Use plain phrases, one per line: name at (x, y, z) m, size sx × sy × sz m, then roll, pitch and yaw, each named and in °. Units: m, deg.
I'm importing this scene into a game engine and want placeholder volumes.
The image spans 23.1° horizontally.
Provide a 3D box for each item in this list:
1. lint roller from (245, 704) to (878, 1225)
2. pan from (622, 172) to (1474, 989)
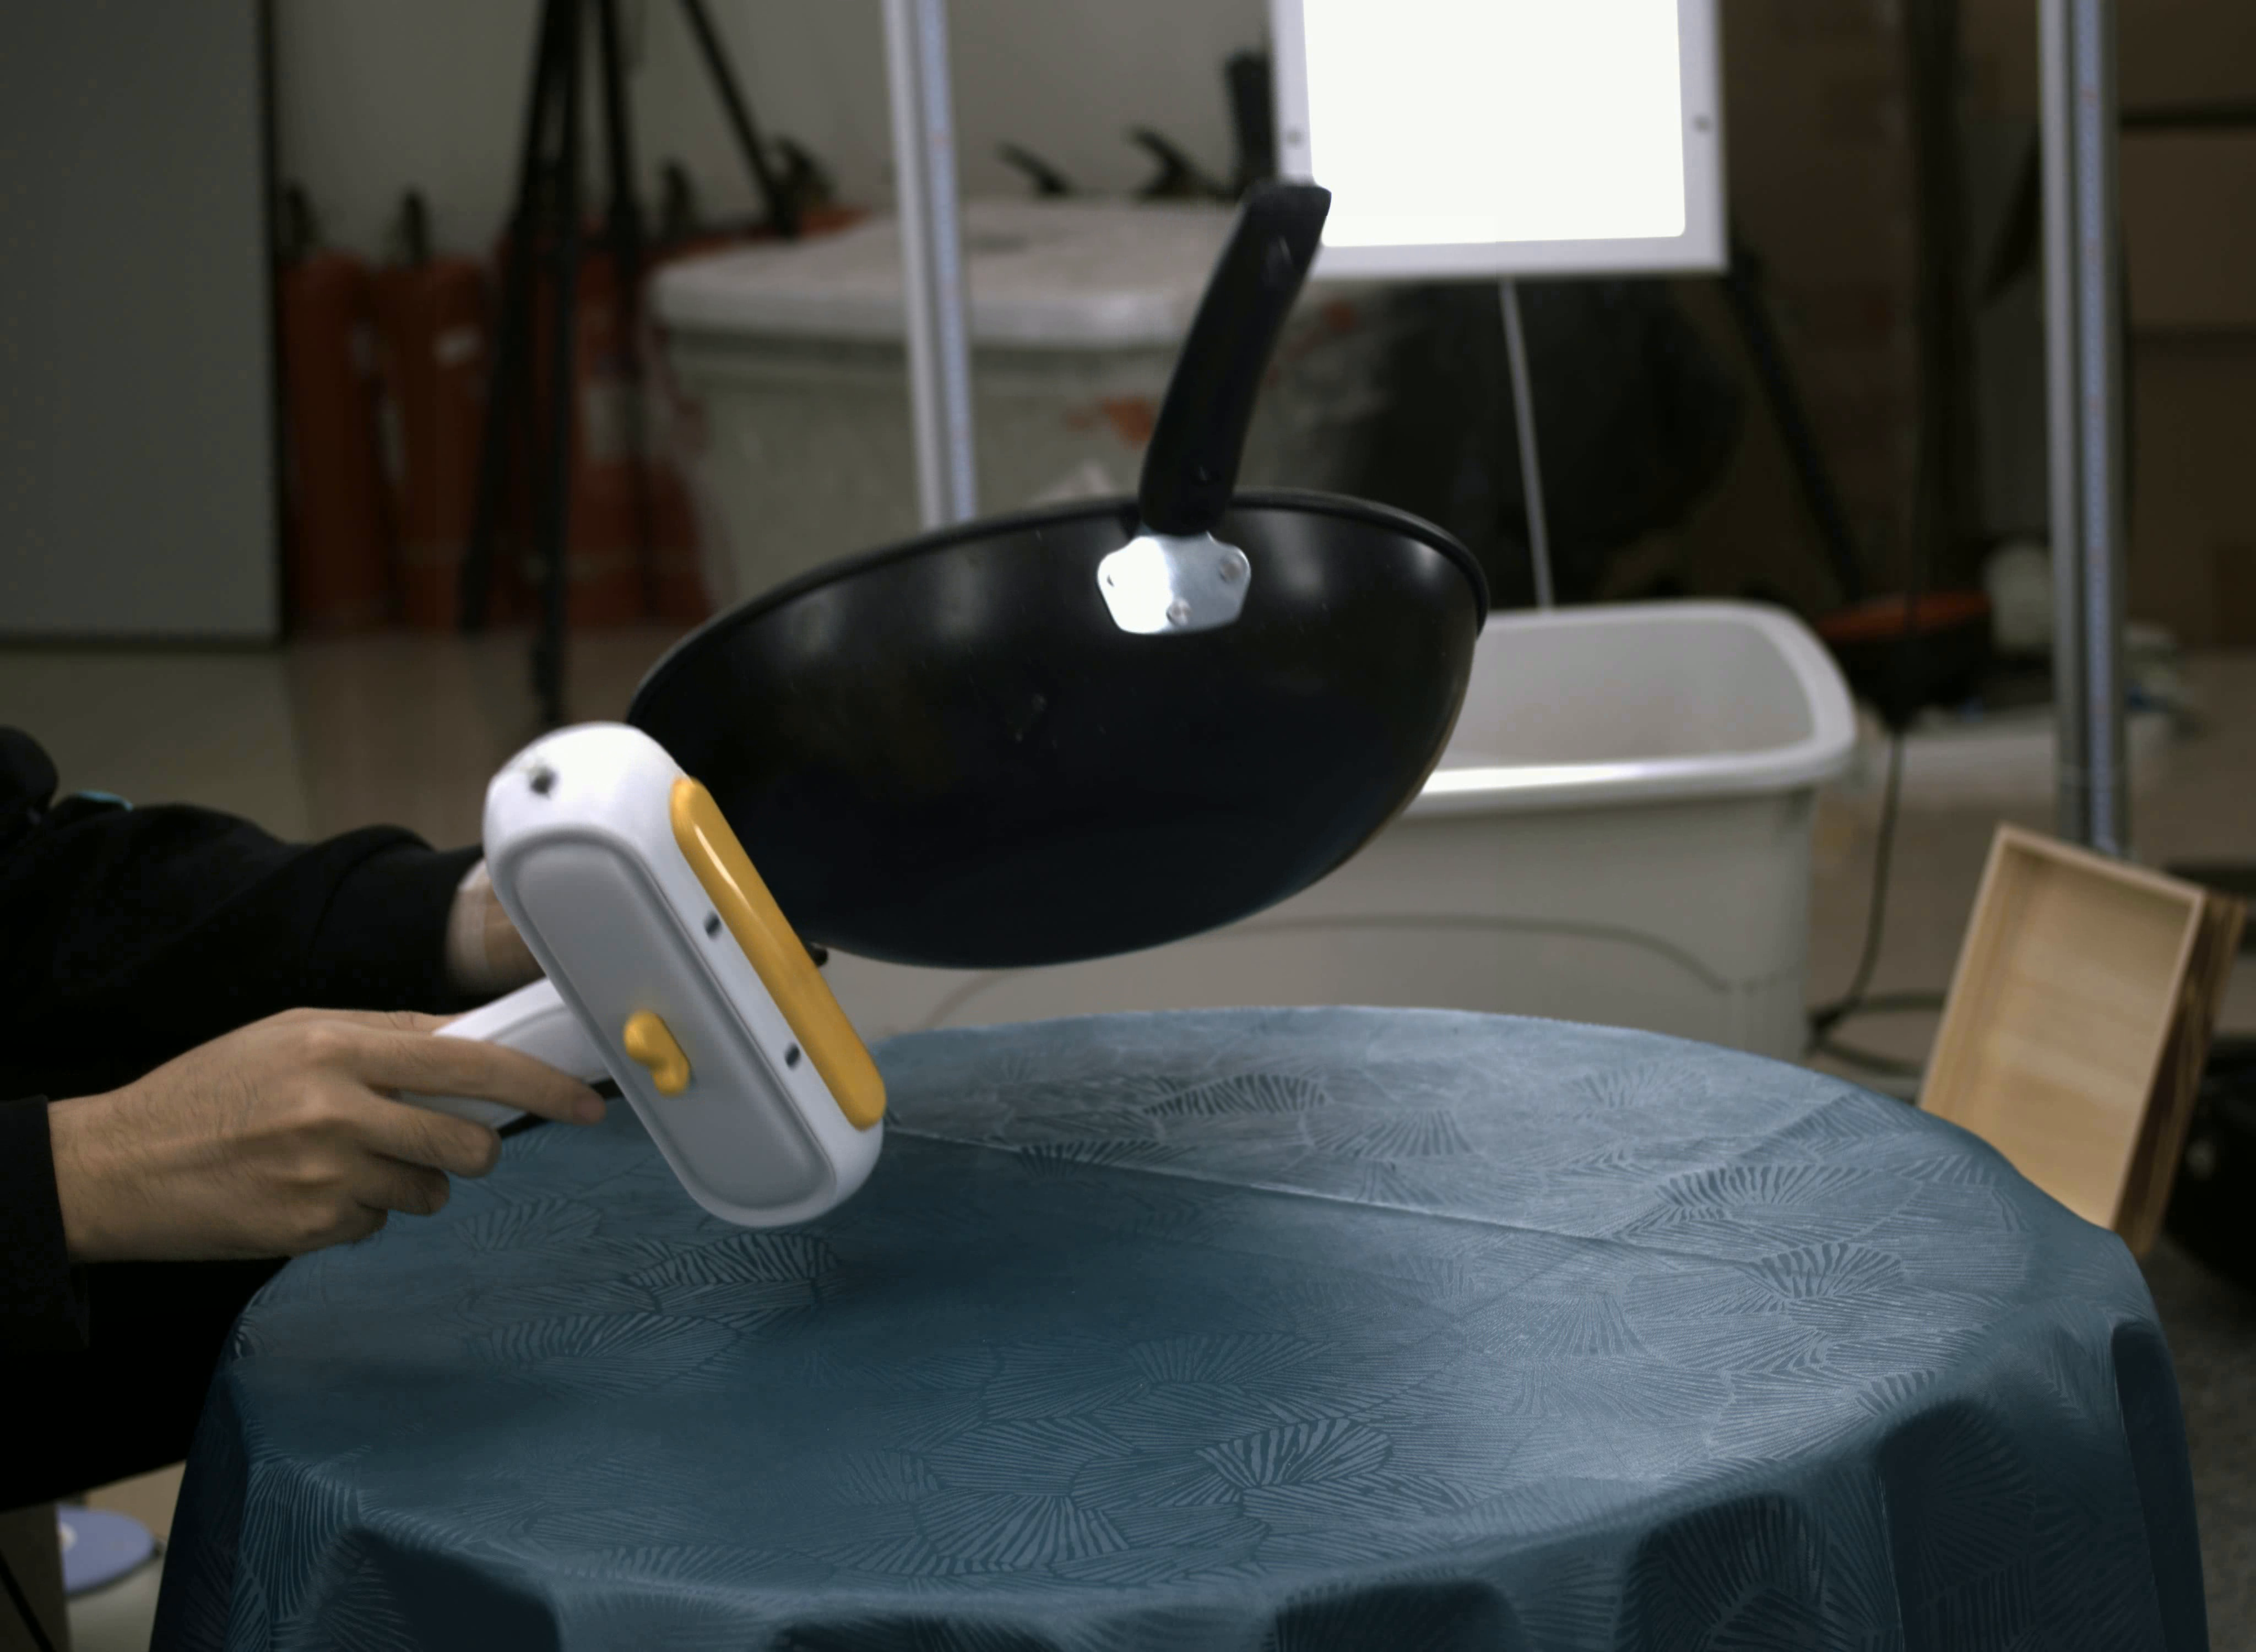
lint roller at (-0.198, 0.070, 1.775) m, size 0.195 × 0.191 × 0.074 m, roll -23°, pitch 35°, yaw 20°
pan at (-0.003, -0.056, 1.849) m, size 0.305 × 0.112 × 0.483 m, roll -5°, pitch -21°, yaw -17°
